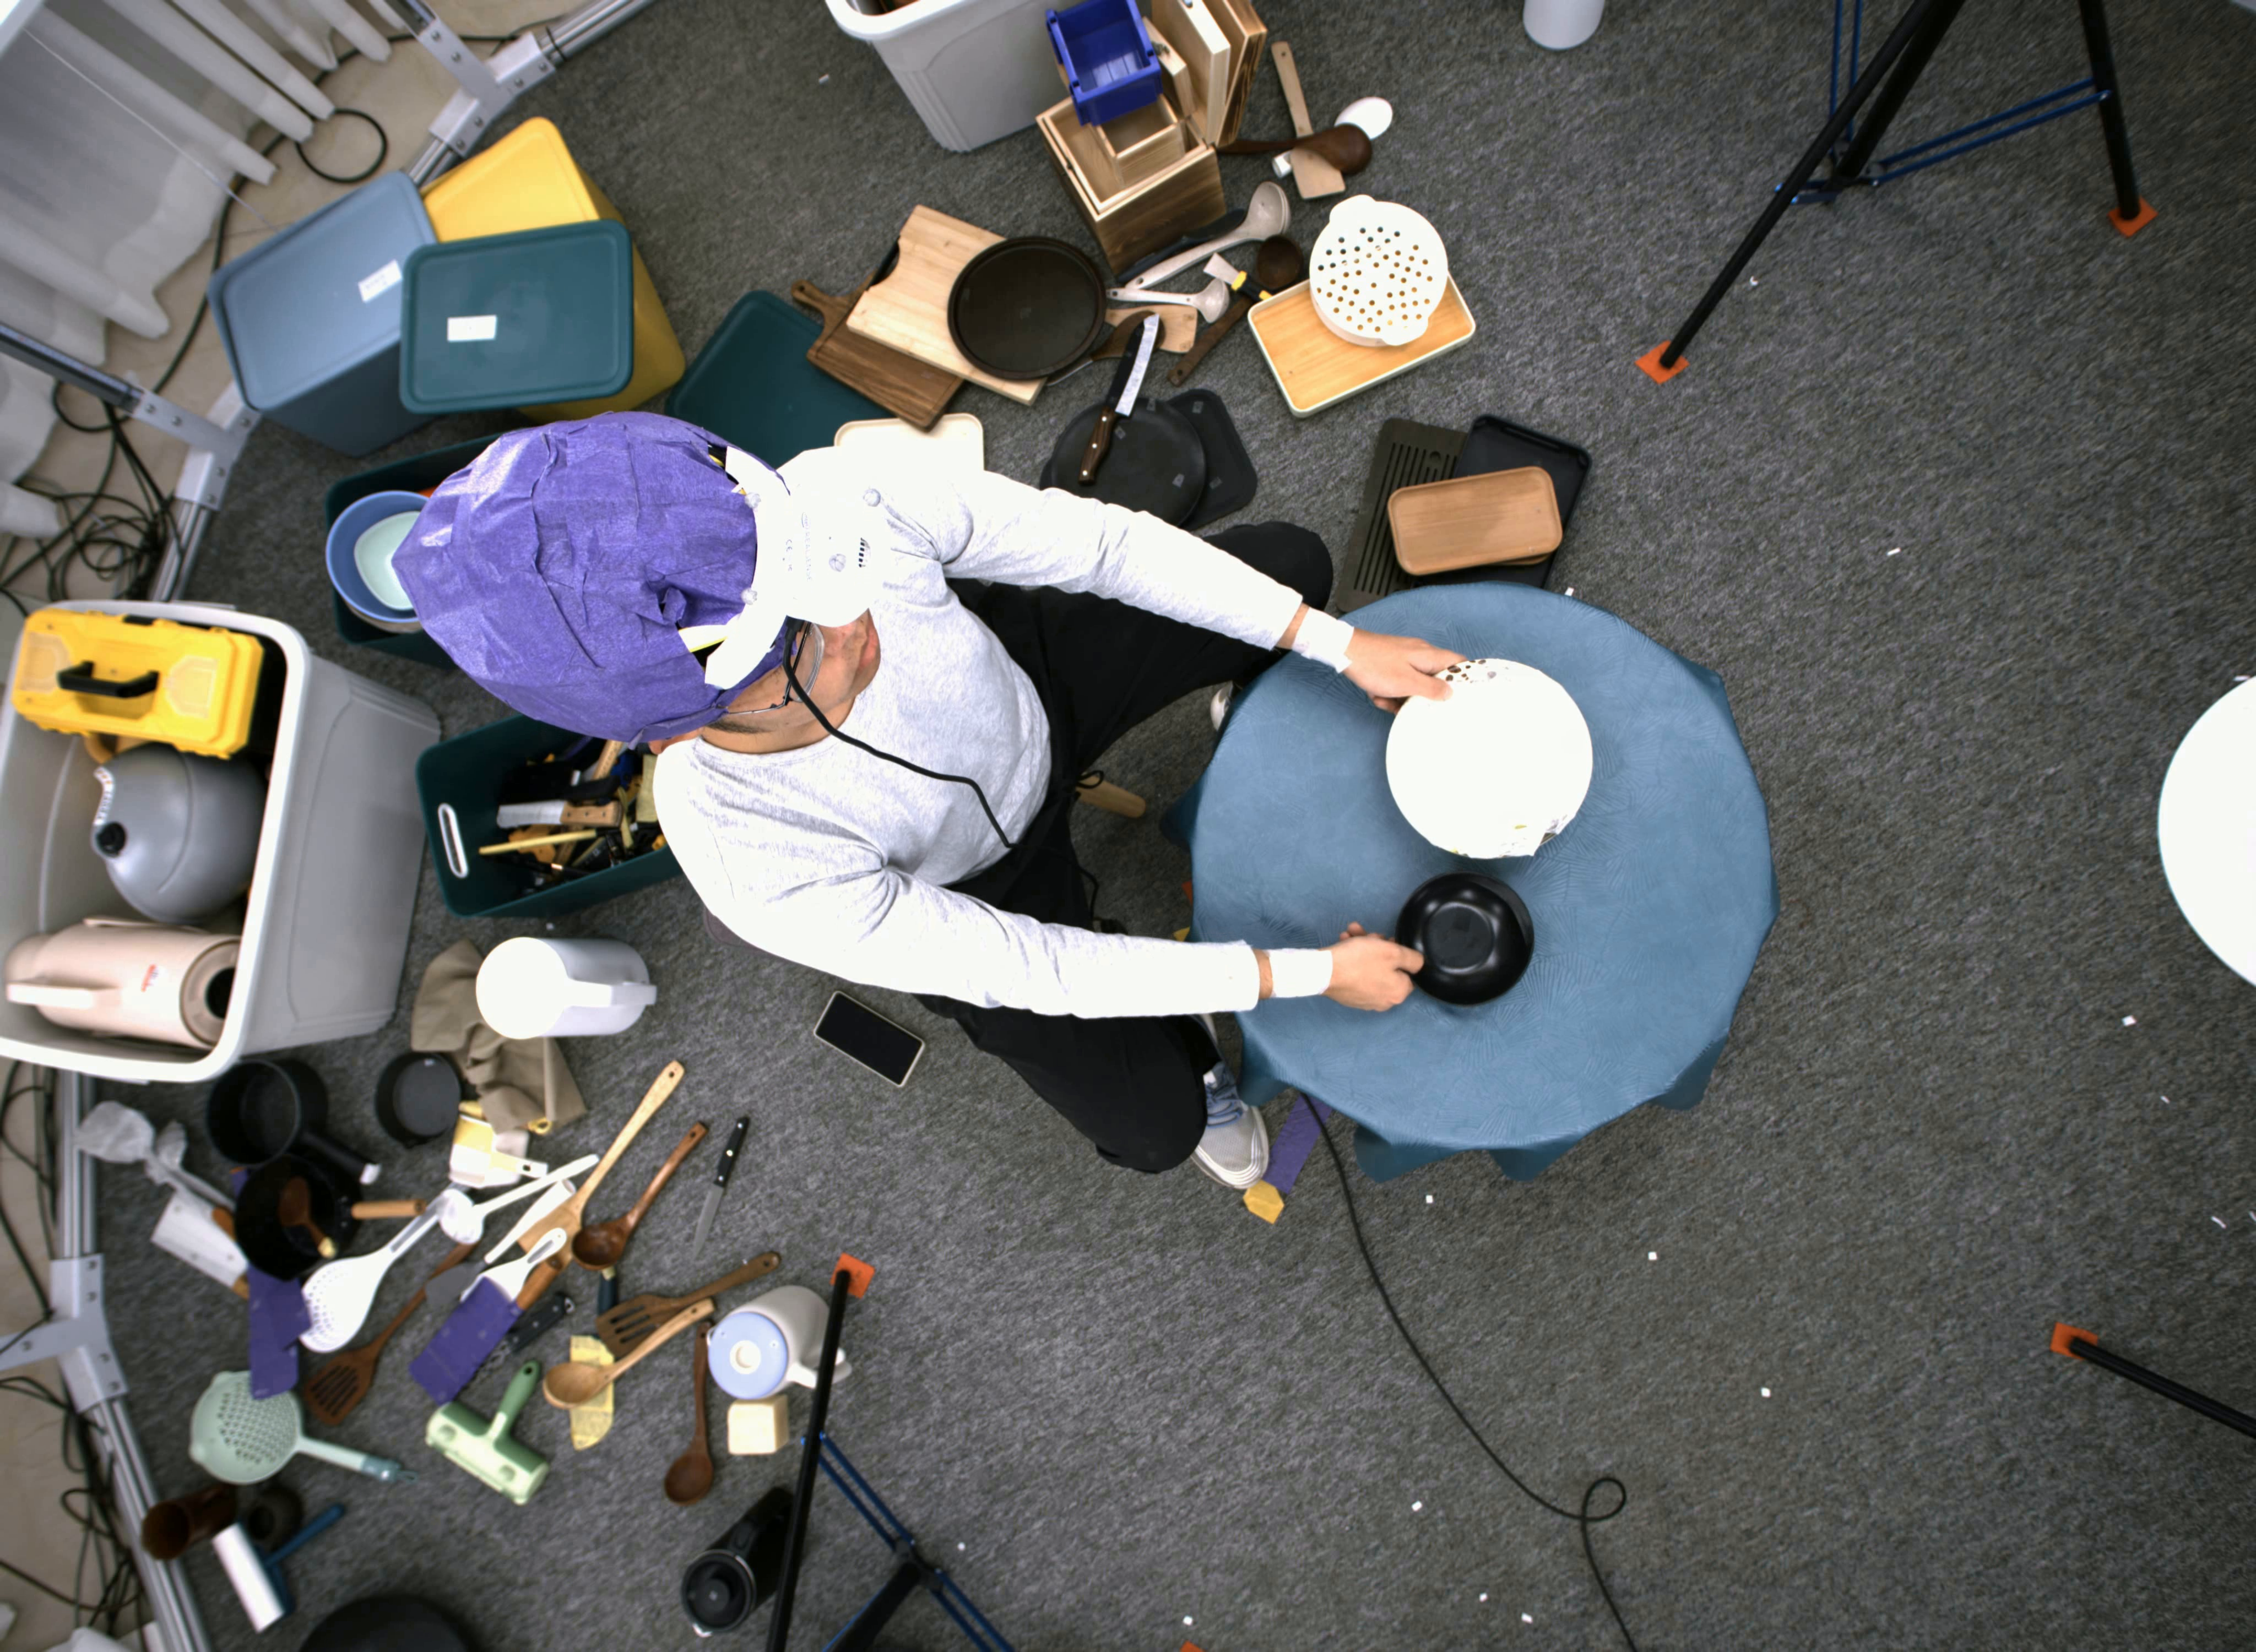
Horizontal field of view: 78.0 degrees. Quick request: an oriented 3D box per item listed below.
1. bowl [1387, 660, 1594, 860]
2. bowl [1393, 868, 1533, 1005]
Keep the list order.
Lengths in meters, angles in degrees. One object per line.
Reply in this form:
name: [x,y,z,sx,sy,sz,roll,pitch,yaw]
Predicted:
bowl: [0.369,-0.065,1.409,0.205,0.078,0.203,-1,85,11]
bowl: [0.342,0.112,1.417,0.140,0.050,0.139,-1,88,10]
